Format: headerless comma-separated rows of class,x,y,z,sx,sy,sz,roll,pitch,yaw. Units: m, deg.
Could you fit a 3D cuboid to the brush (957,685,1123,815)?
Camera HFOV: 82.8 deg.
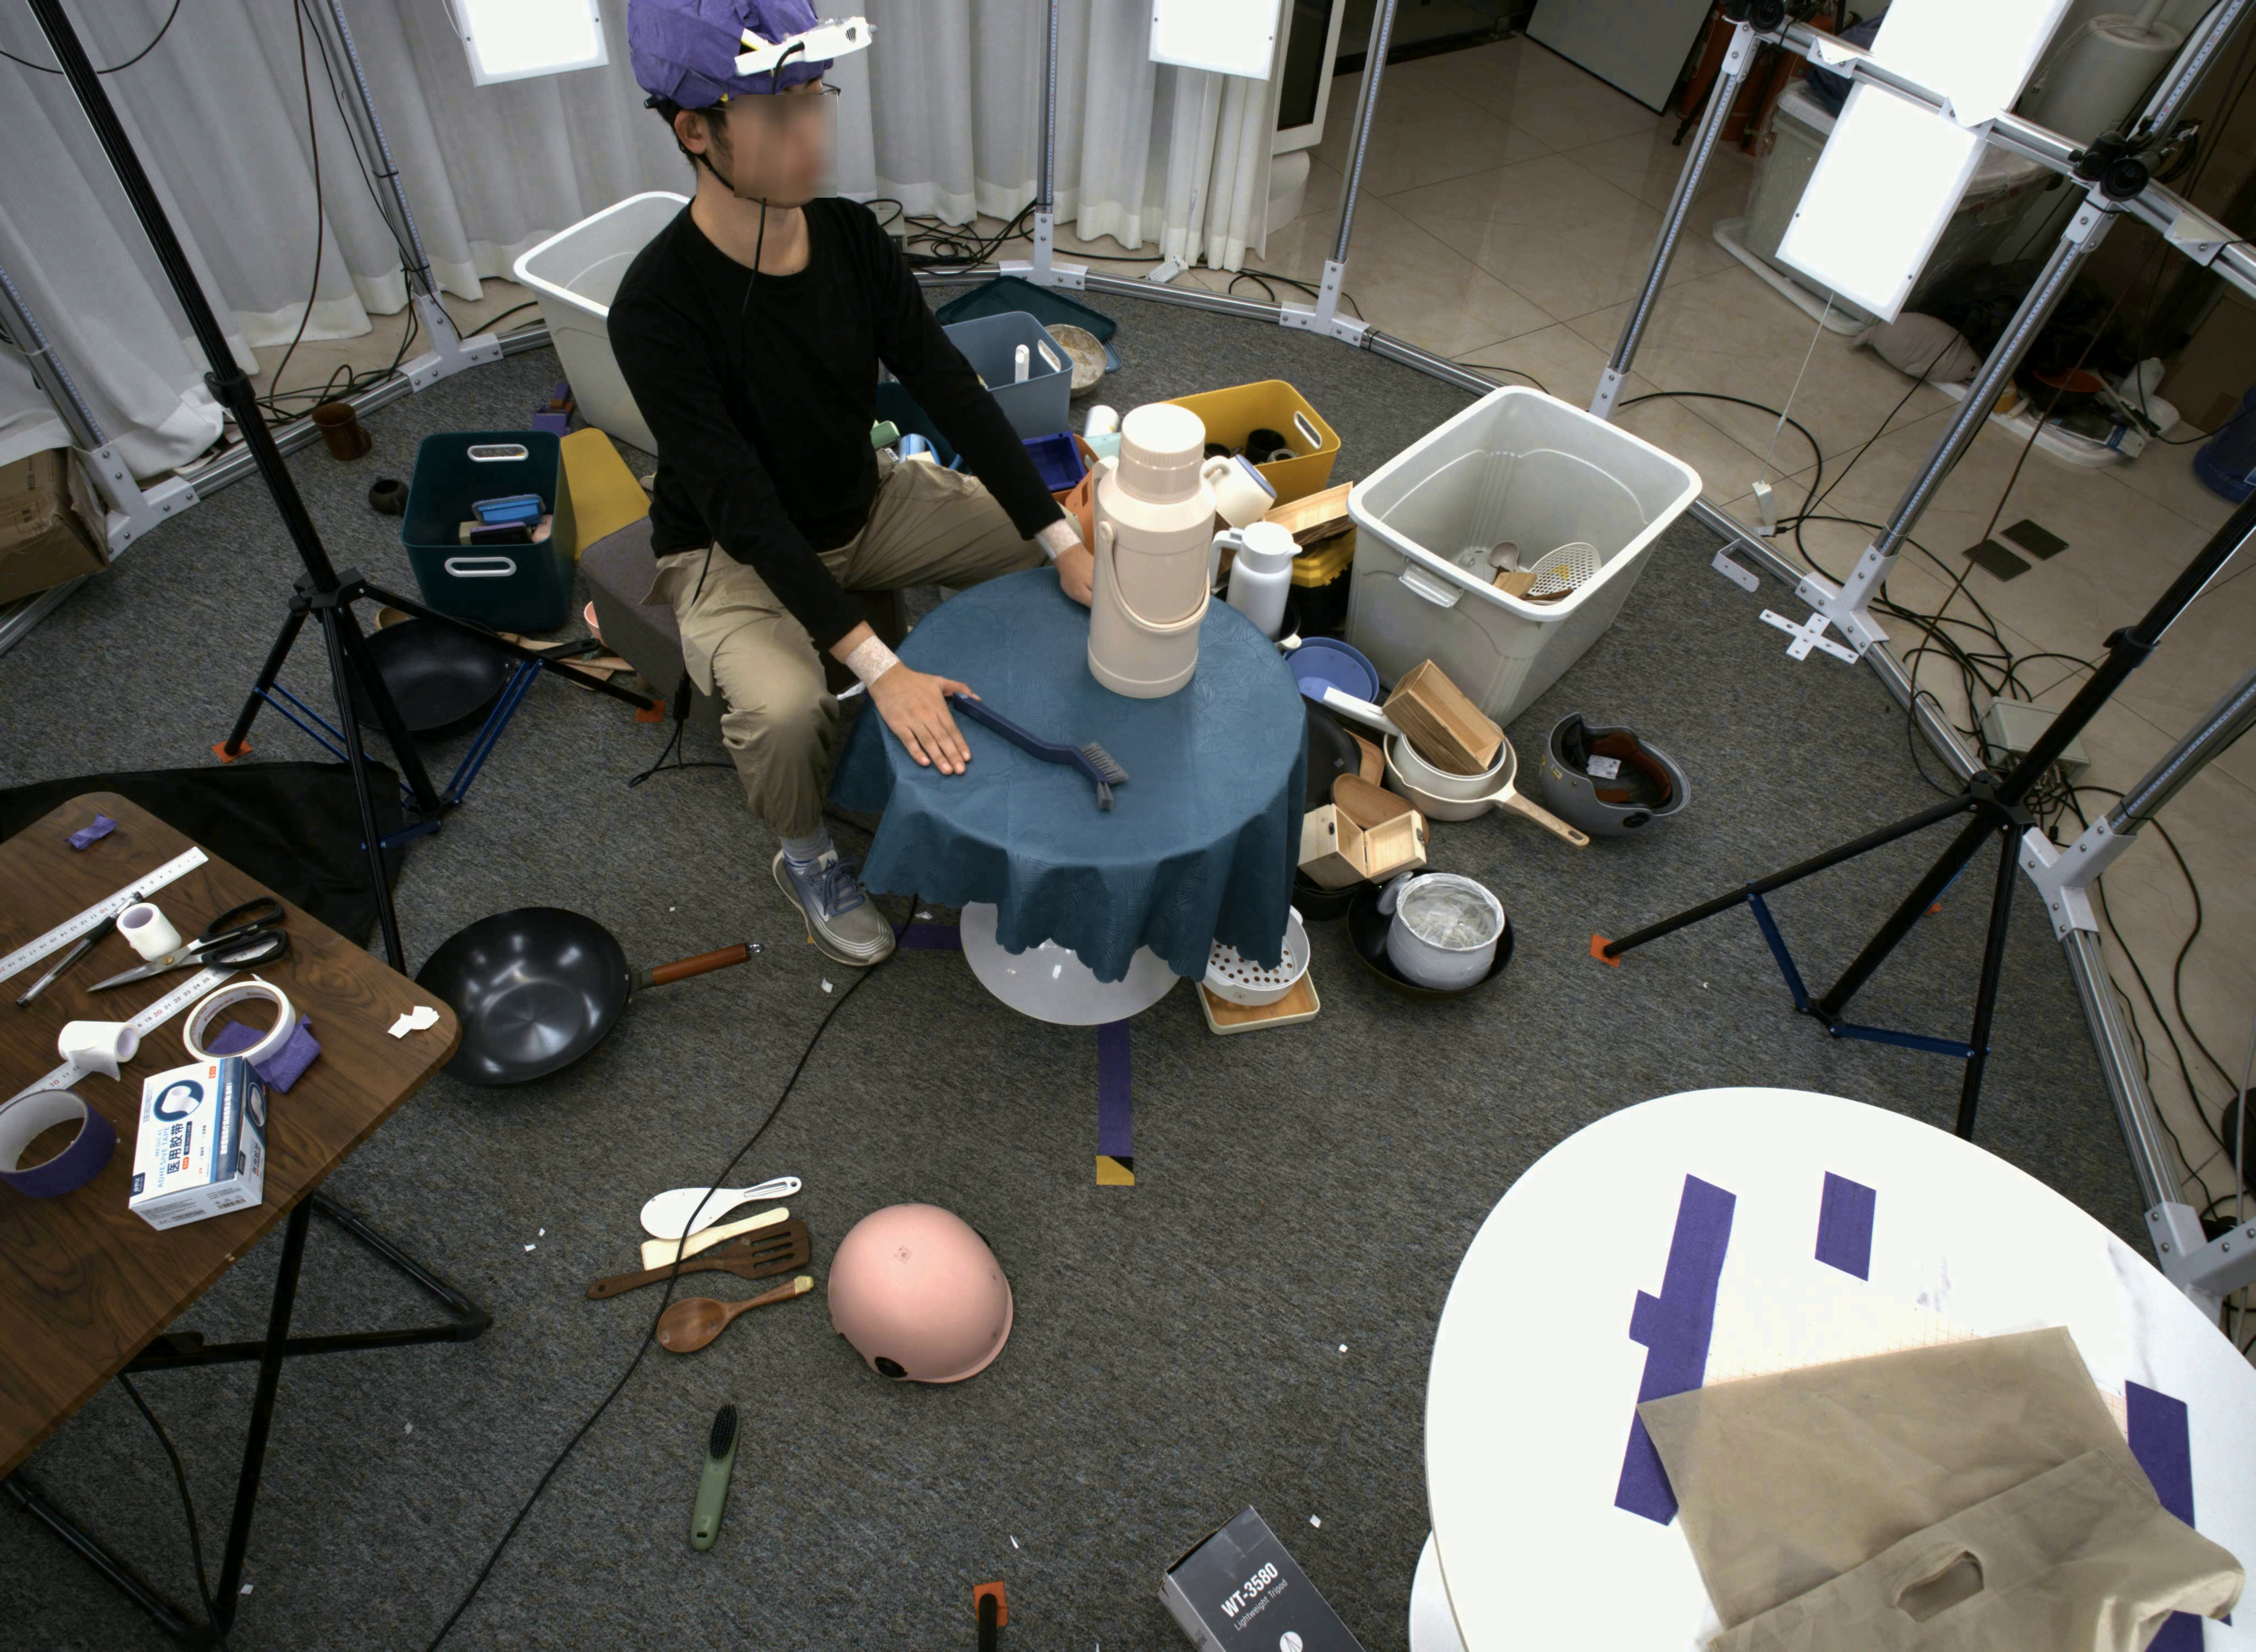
brush,-0.131,-0.108,1.733,0.275,0.033,0.097,26,51,15

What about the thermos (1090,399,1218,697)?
thermos,0.026,-0.378,1.744,0.176,0.396,0.210,-32,59,-25
